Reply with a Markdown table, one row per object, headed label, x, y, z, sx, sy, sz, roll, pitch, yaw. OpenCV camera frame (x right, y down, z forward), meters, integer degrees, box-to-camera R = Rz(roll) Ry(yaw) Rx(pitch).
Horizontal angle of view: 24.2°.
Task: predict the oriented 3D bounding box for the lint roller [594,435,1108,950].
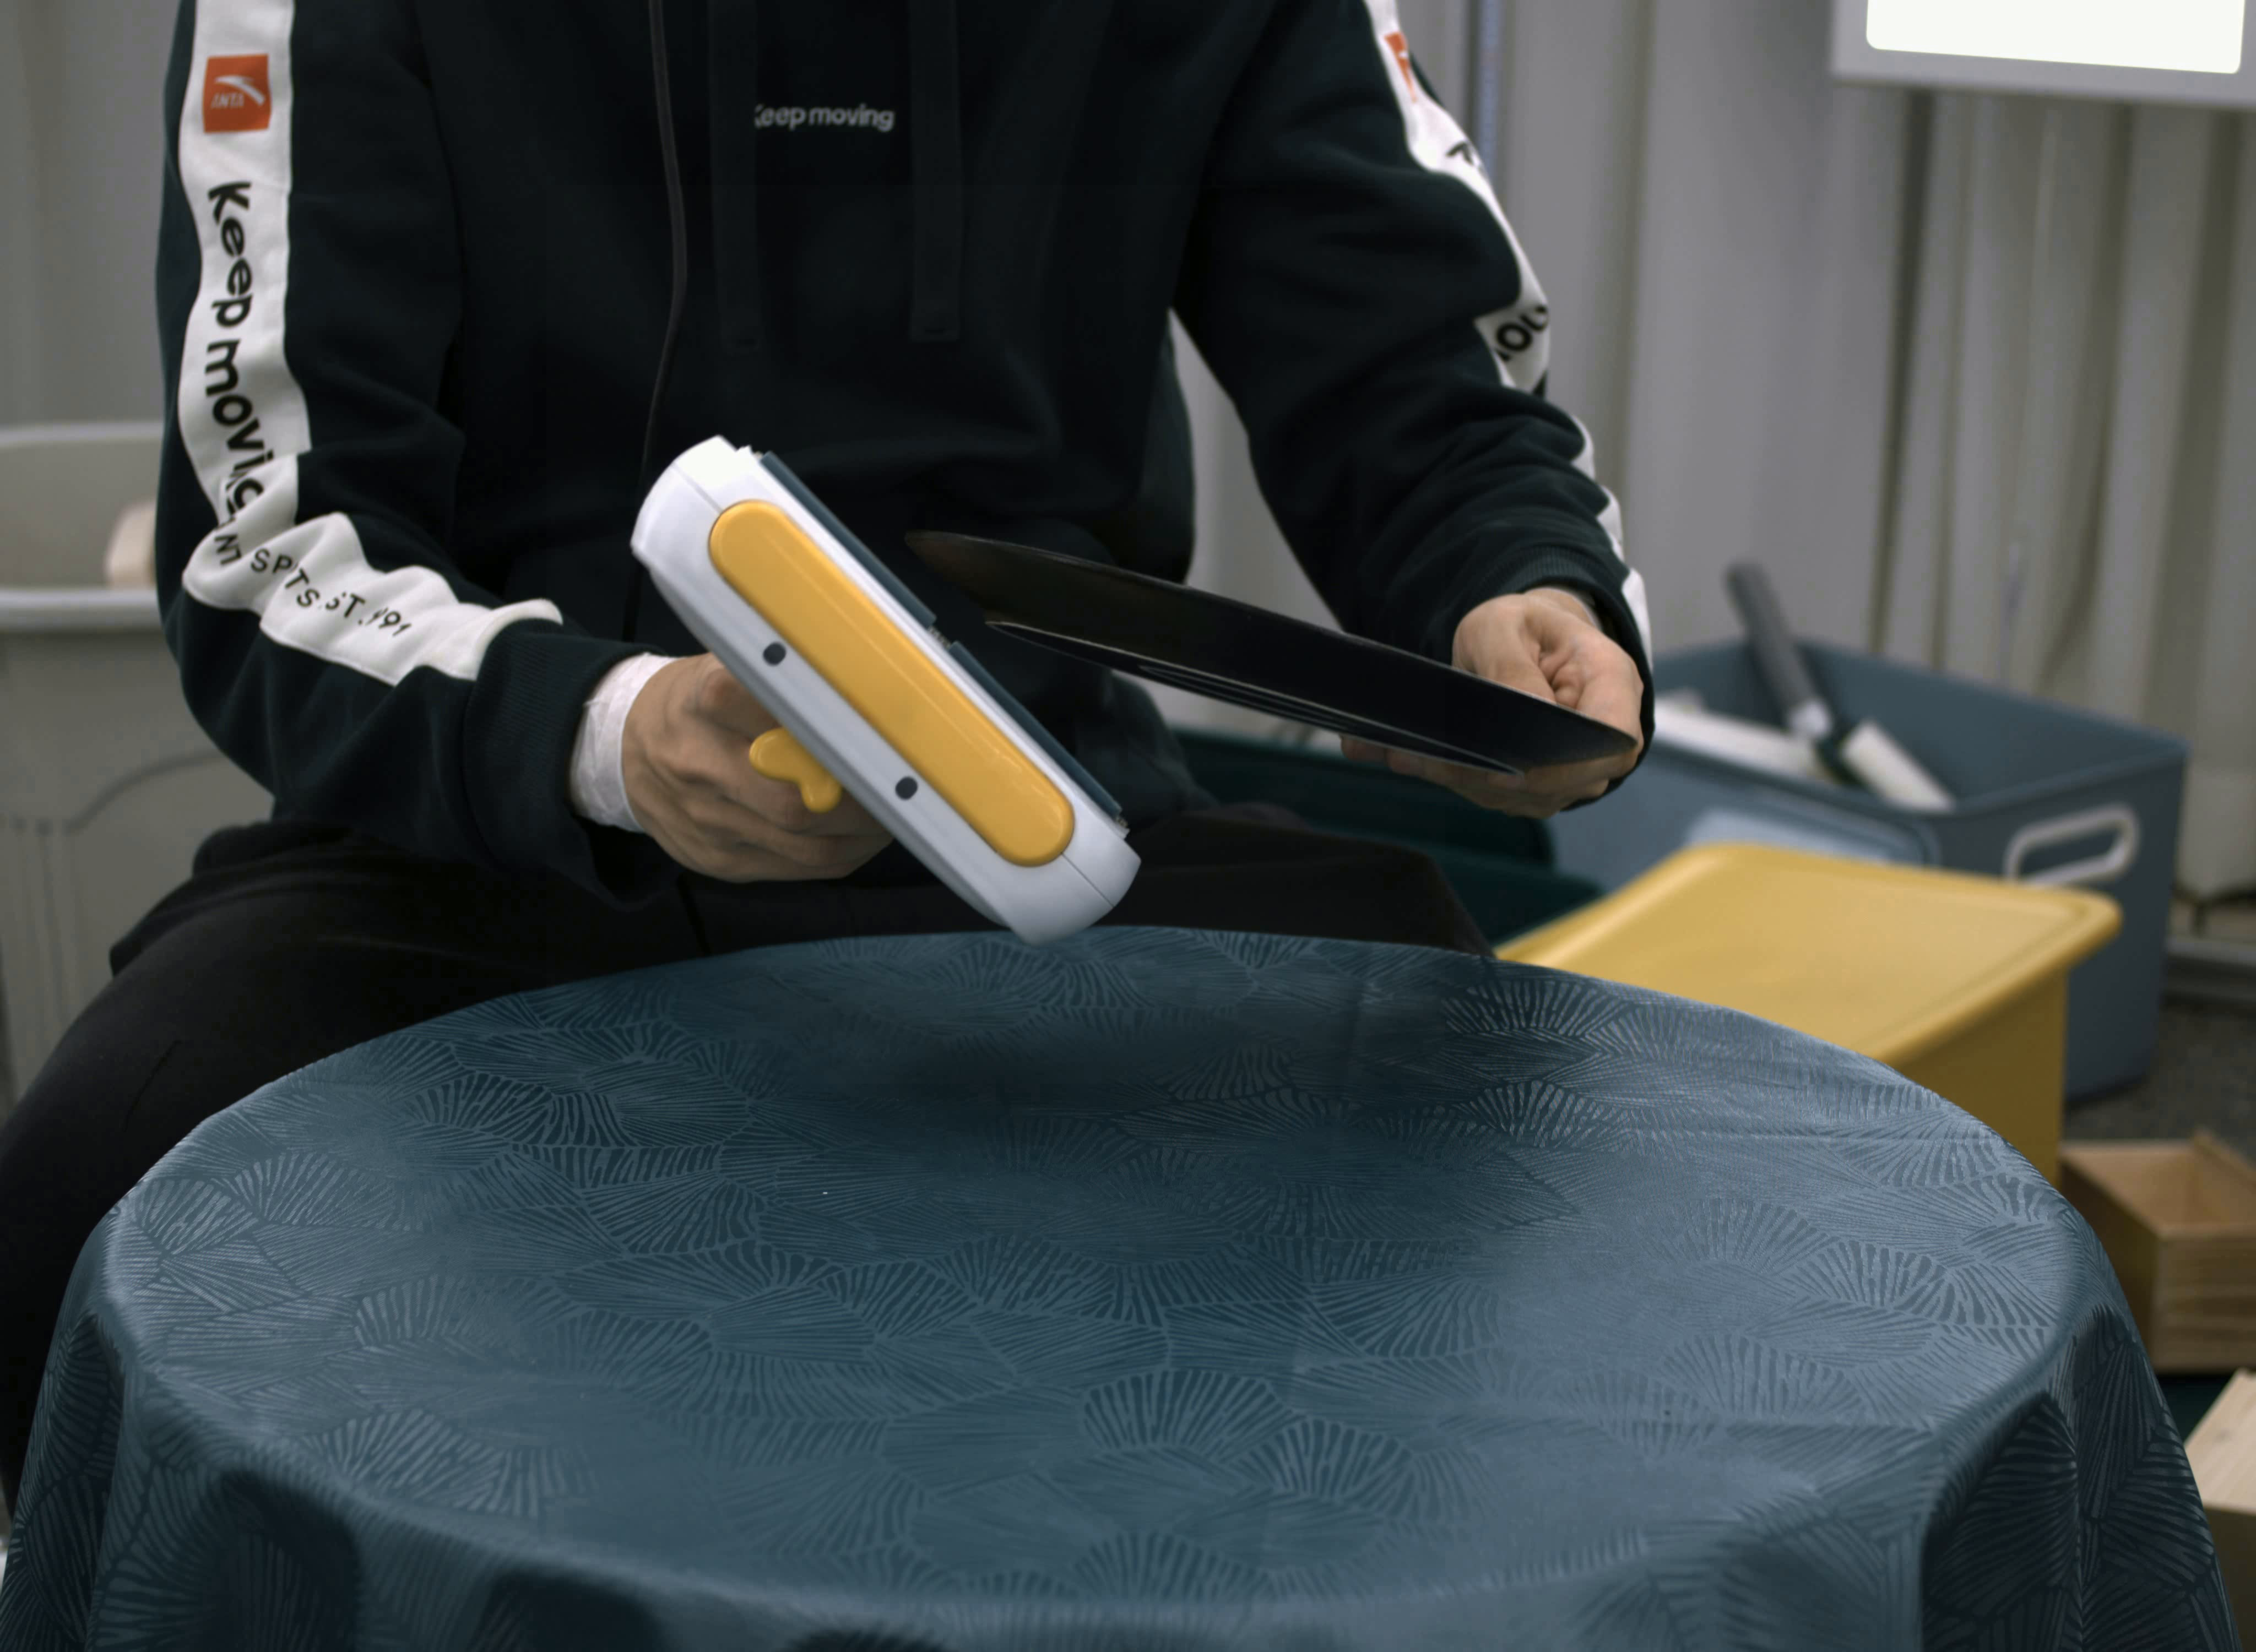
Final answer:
| label | x | y | z | sx | sy | sz | roll | pitch | yaw |
| --- | --- | --- | --- | --- | --- | --- | --- | --- | --- |
| lint roller | -0.100 | -0.017 | 1.670 | 0.074 | 0.192 | 0.193 | -48 | -3 | -21 |

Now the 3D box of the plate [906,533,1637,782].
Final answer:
| label | x | y | z | sx | sy | sz | roll | pitch | yaw |
| --- | --- | --- | --- | --- | --- | --- | --- | --- | --- |
| plate | 0.043 | -0.050 | 1.684 | 0.243 | 0.023 | 0.244 | 16 | -1 | 1 |
